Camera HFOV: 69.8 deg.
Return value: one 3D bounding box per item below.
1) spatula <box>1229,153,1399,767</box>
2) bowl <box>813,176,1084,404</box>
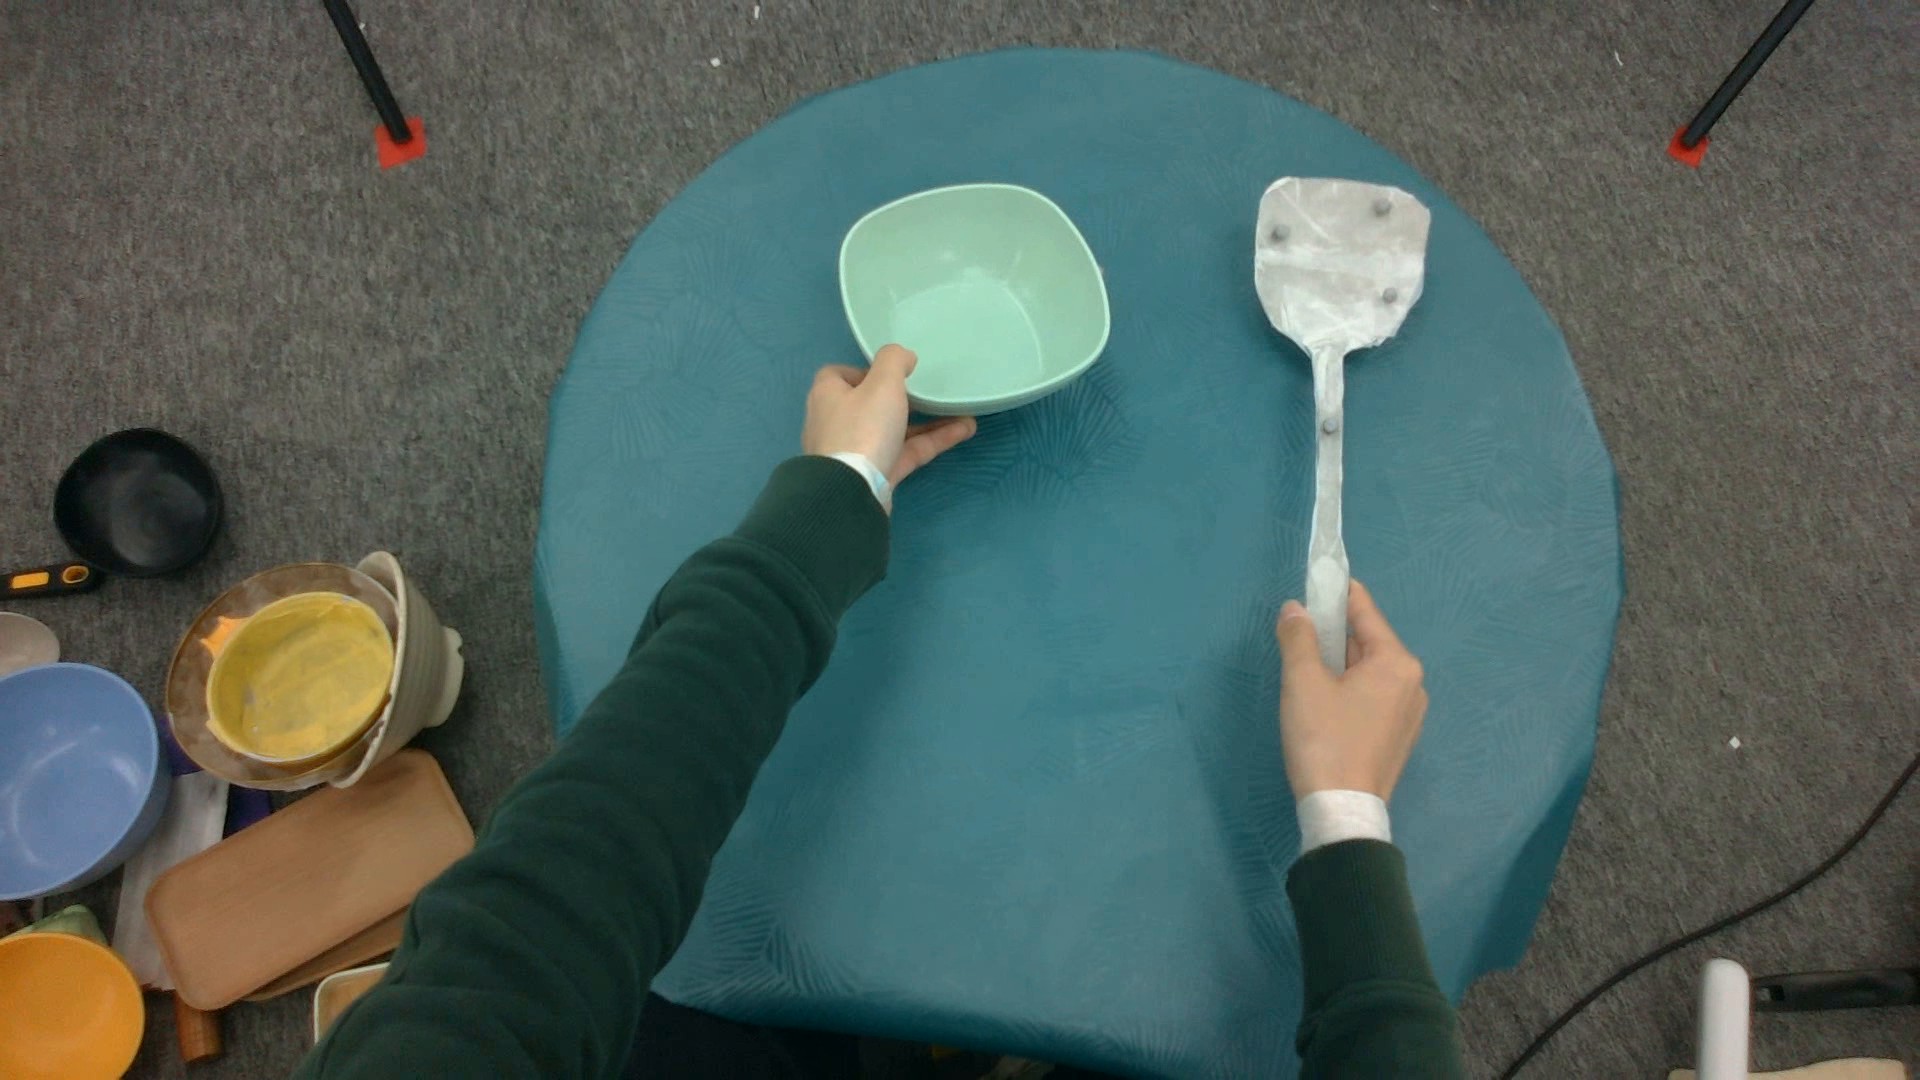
[{"bbox_3d":[0.182,-0.055,0.740,0.099,0.044,0.366,10,62,-1],"label":"spatula"},{"bbox_3d":[-0.009,-0.127,0.752,0.151,0.058,0.152,3,60,-4],"label":"bowl"}]
